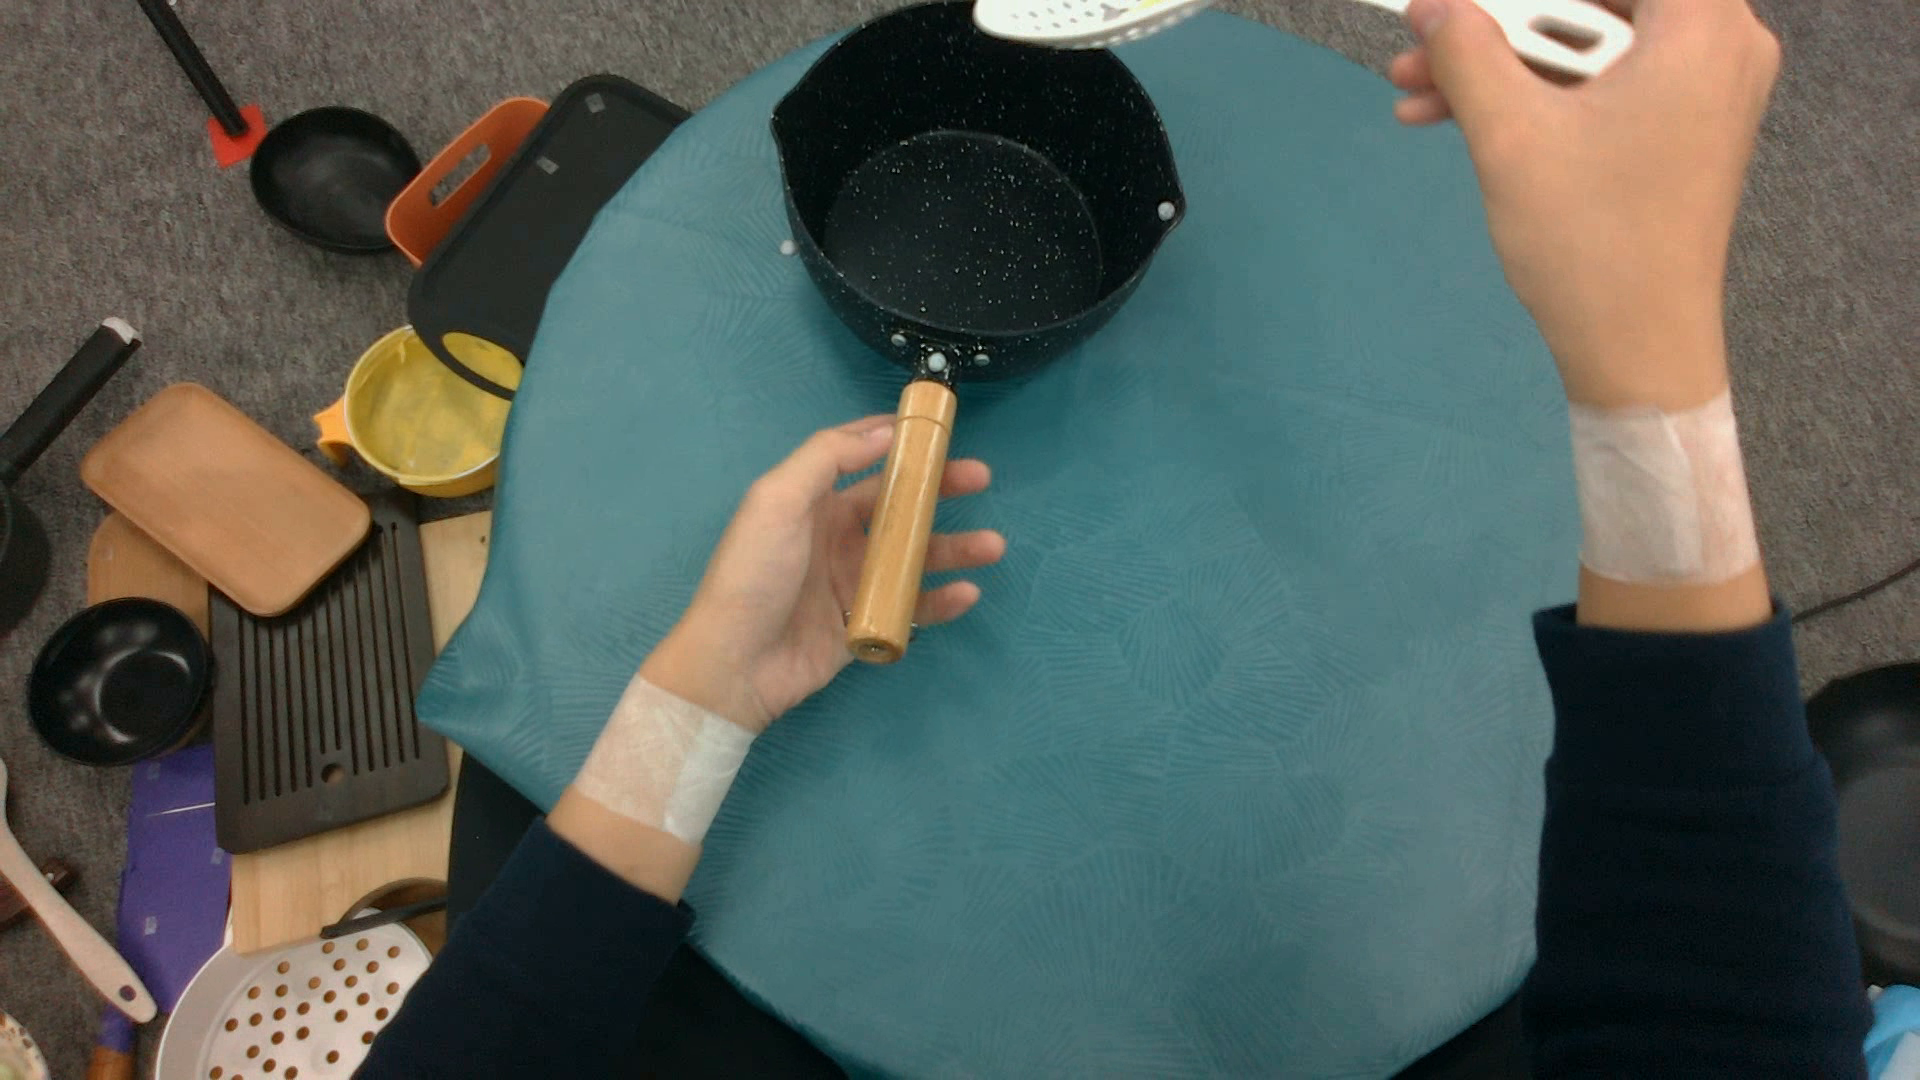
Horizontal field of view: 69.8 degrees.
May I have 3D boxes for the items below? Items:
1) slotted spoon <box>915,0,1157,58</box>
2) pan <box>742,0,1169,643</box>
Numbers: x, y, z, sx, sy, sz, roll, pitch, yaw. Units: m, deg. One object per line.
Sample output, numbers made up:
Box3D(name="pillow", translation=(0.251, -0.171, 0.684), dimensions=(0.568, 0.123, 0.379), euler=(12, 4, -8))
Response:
Box3D(name="slotted spoon", translation=(0.091, -0.212, 0.507), dimensions=(0.137, 0.348, 0.050), euler=(-43, 119, -4))
Box3D(name="pan", translation=(-0.016, -0.102, 0.647), dimensions=(0.207, 0.108, 0.344), euler=(11, 68, -4))
